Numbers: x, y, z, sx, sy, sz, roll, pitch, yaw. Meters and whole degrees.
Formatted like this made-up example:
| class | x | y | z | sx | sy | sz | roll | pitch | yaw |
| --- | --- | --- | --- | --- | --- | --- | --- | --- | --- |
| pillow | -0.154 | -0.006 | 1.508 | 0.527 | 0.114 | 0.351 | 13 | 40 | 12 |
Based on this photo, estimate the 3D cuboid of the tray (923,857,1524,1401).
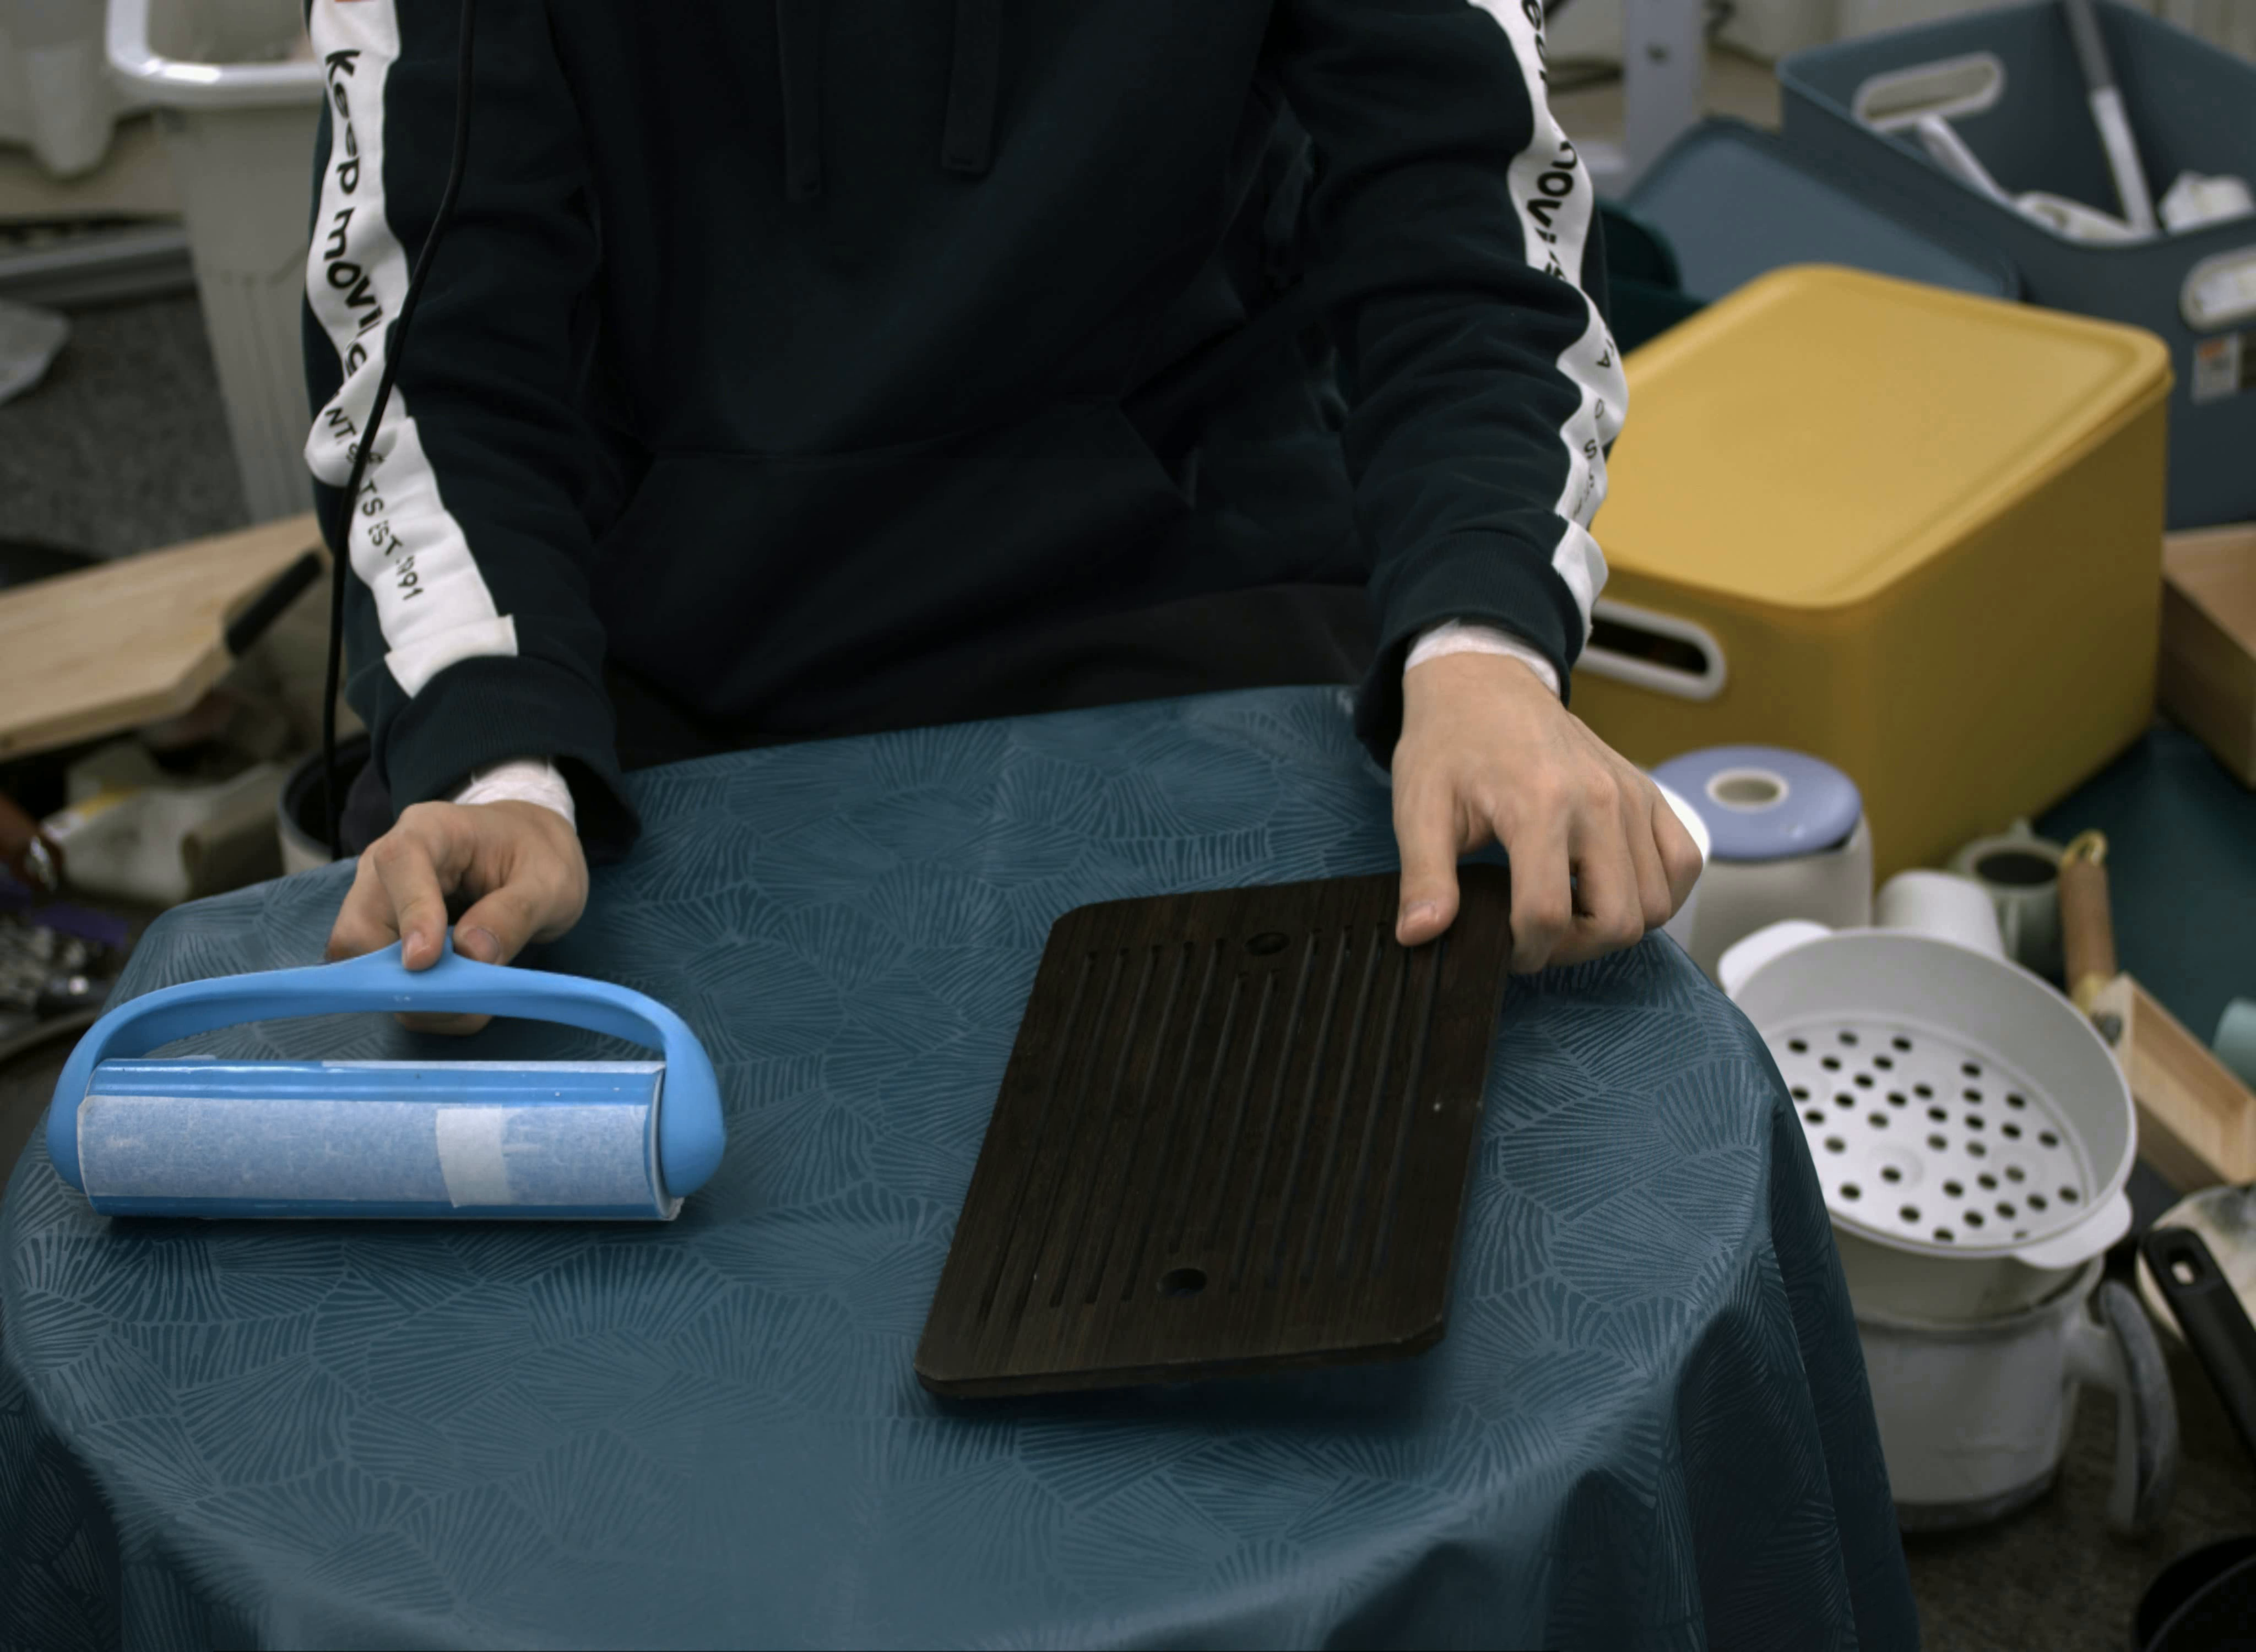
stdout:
| class | x | y | z | sx | sy | sz | roll | pitch | yaw |
| --- | --- | --- | --- | --- | --- | --- | --- | --- | --- |
| tray | 0.038 | 0.098 | 1.857 | 0.169 | 0.018 | 0.311 | -7 | 26 | 12 |

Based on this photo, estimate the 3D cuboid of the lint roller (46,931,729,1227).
| class | x | y | z | sx | sy | sz | roll | pitch | yaw |
| --- | --- | --- | --- | --- | --- | --- | --- | --- | --- |
| lint roller | -0.243 | 0.073 | 1.910 | 0.227 | 0.067 | 0.183 | -3 | 31 | 4 |
